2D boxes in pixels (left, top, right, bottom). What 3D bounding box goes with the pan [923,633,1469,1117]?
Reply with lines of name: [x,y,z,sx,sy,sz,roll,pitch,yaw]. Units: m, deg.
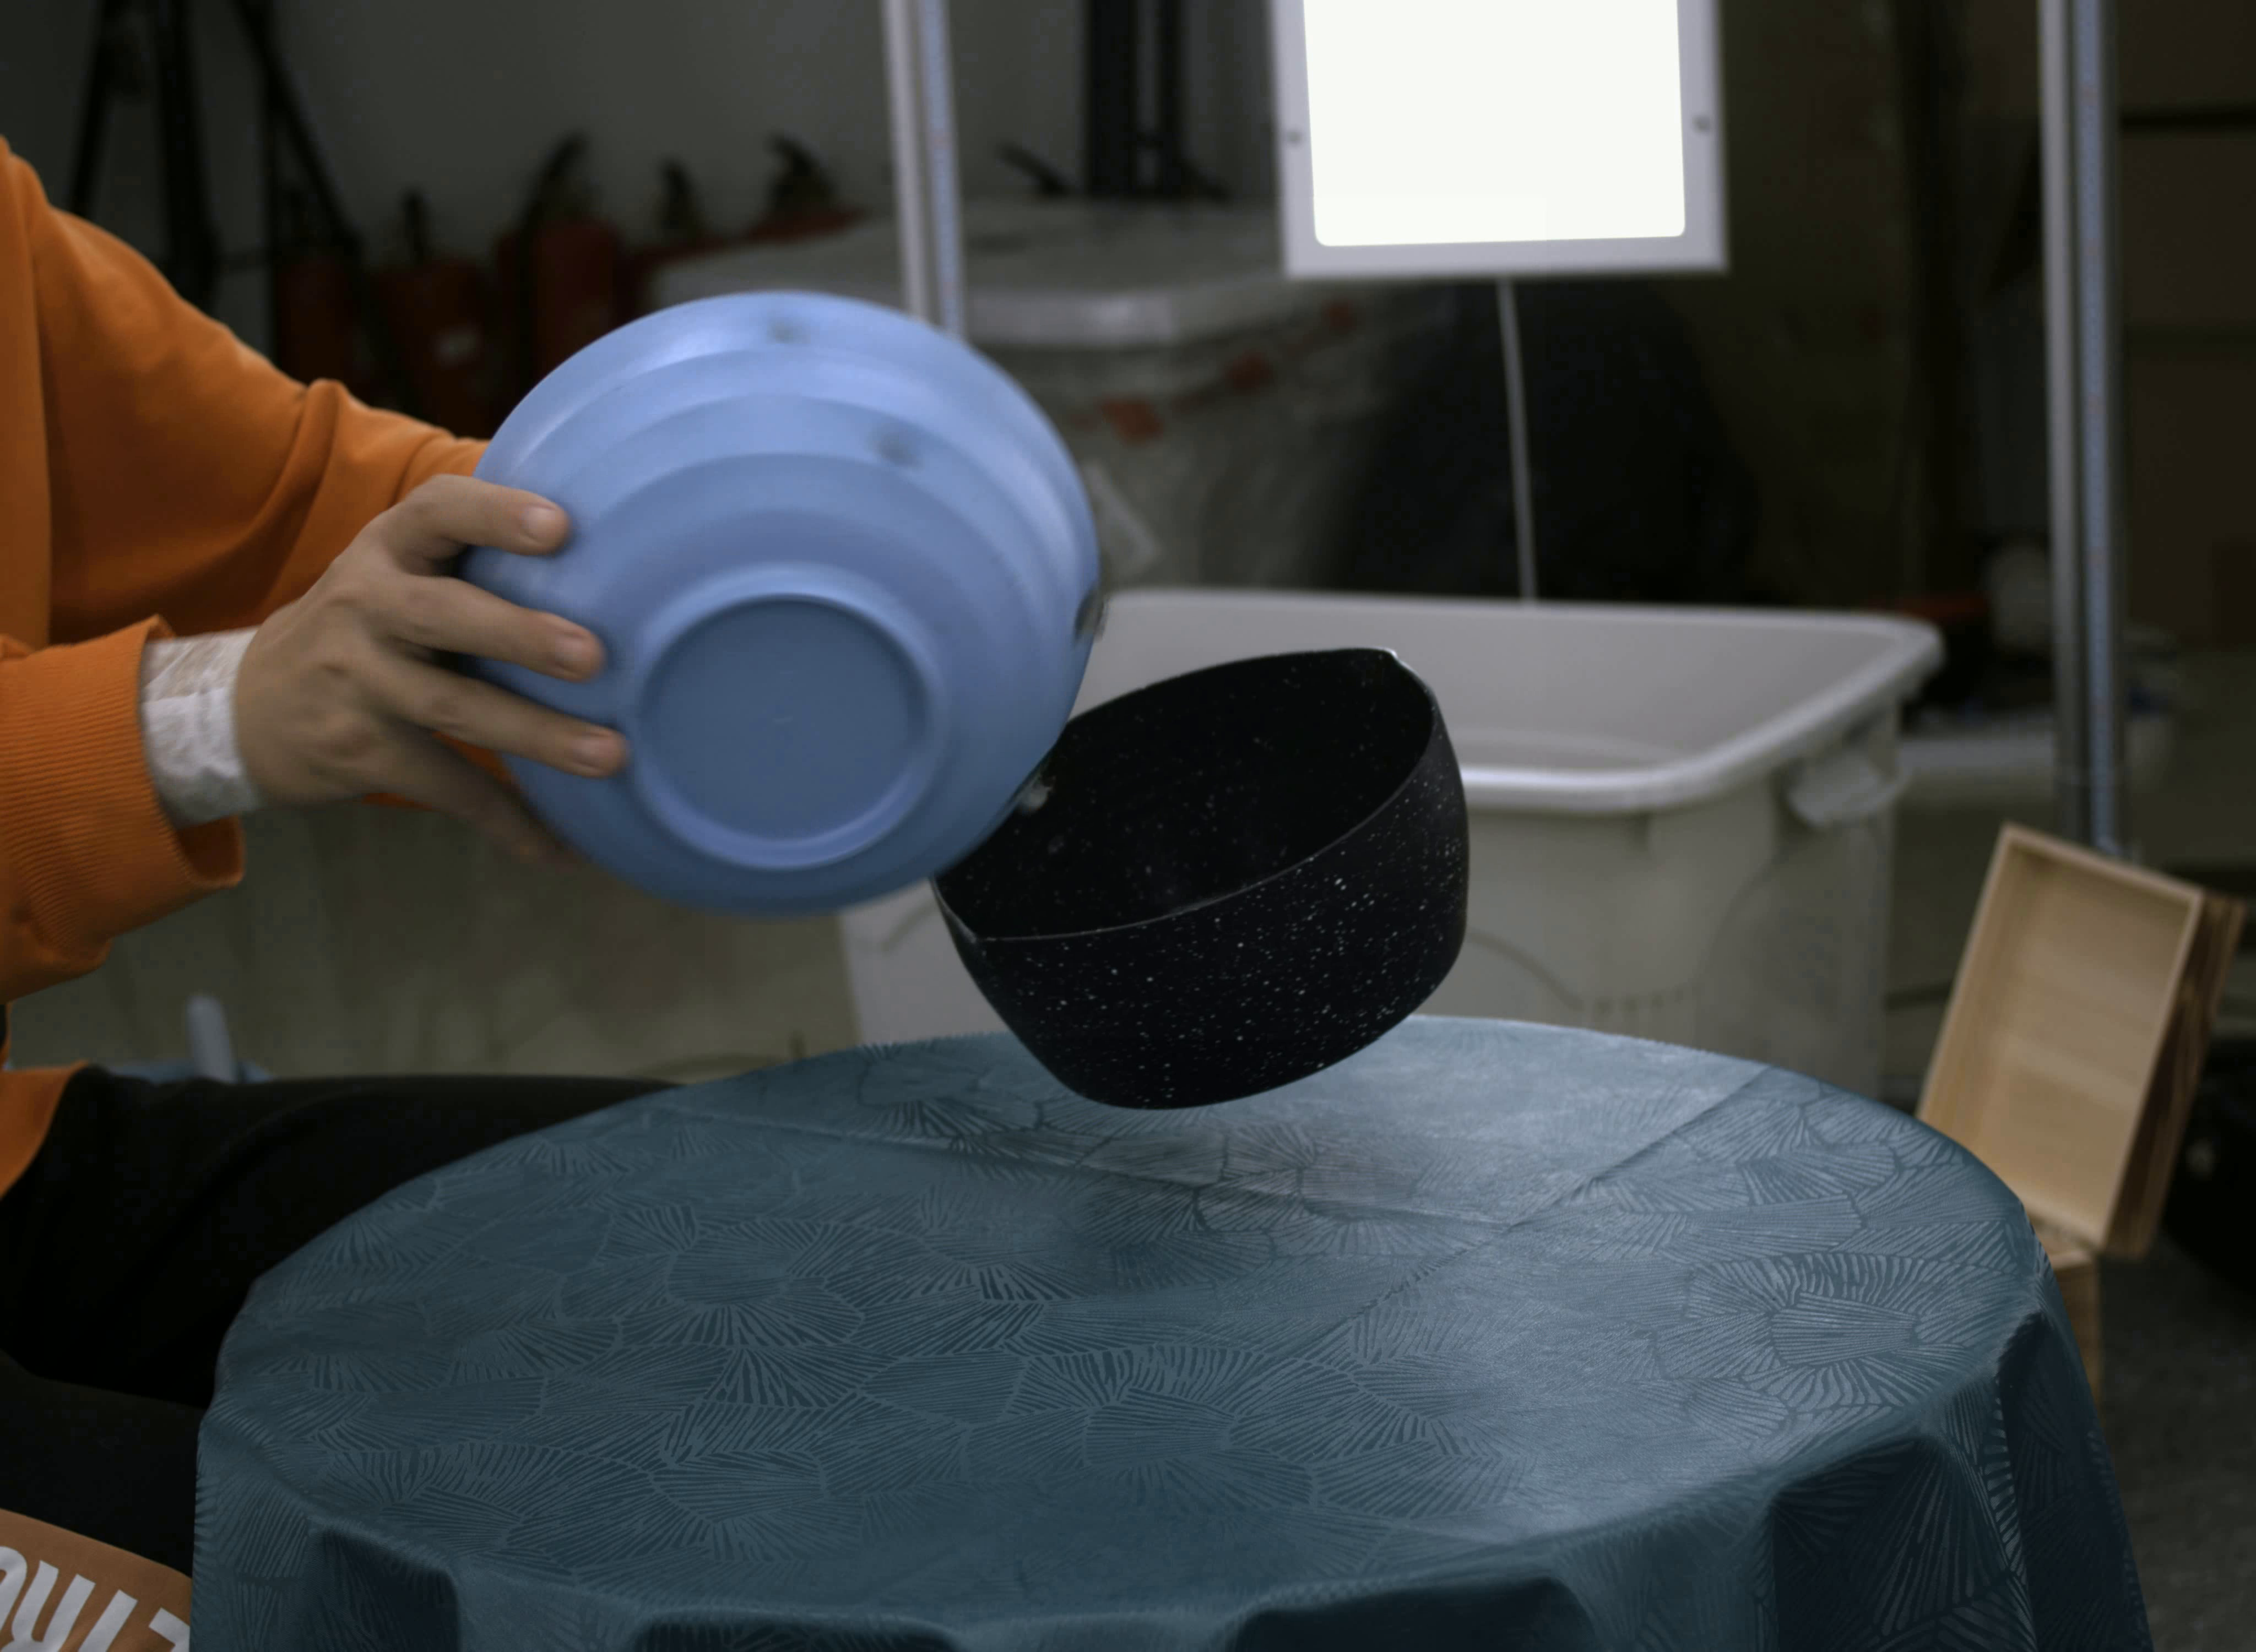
pan: [-0.024,0.003,1.939,0.203,0.108,0.350,-38,30,-29]

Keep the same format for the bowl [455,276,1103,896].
bowl: [-0.099,-0.054,1.624,0.195,0.197,0.095,-5,34,-3]
